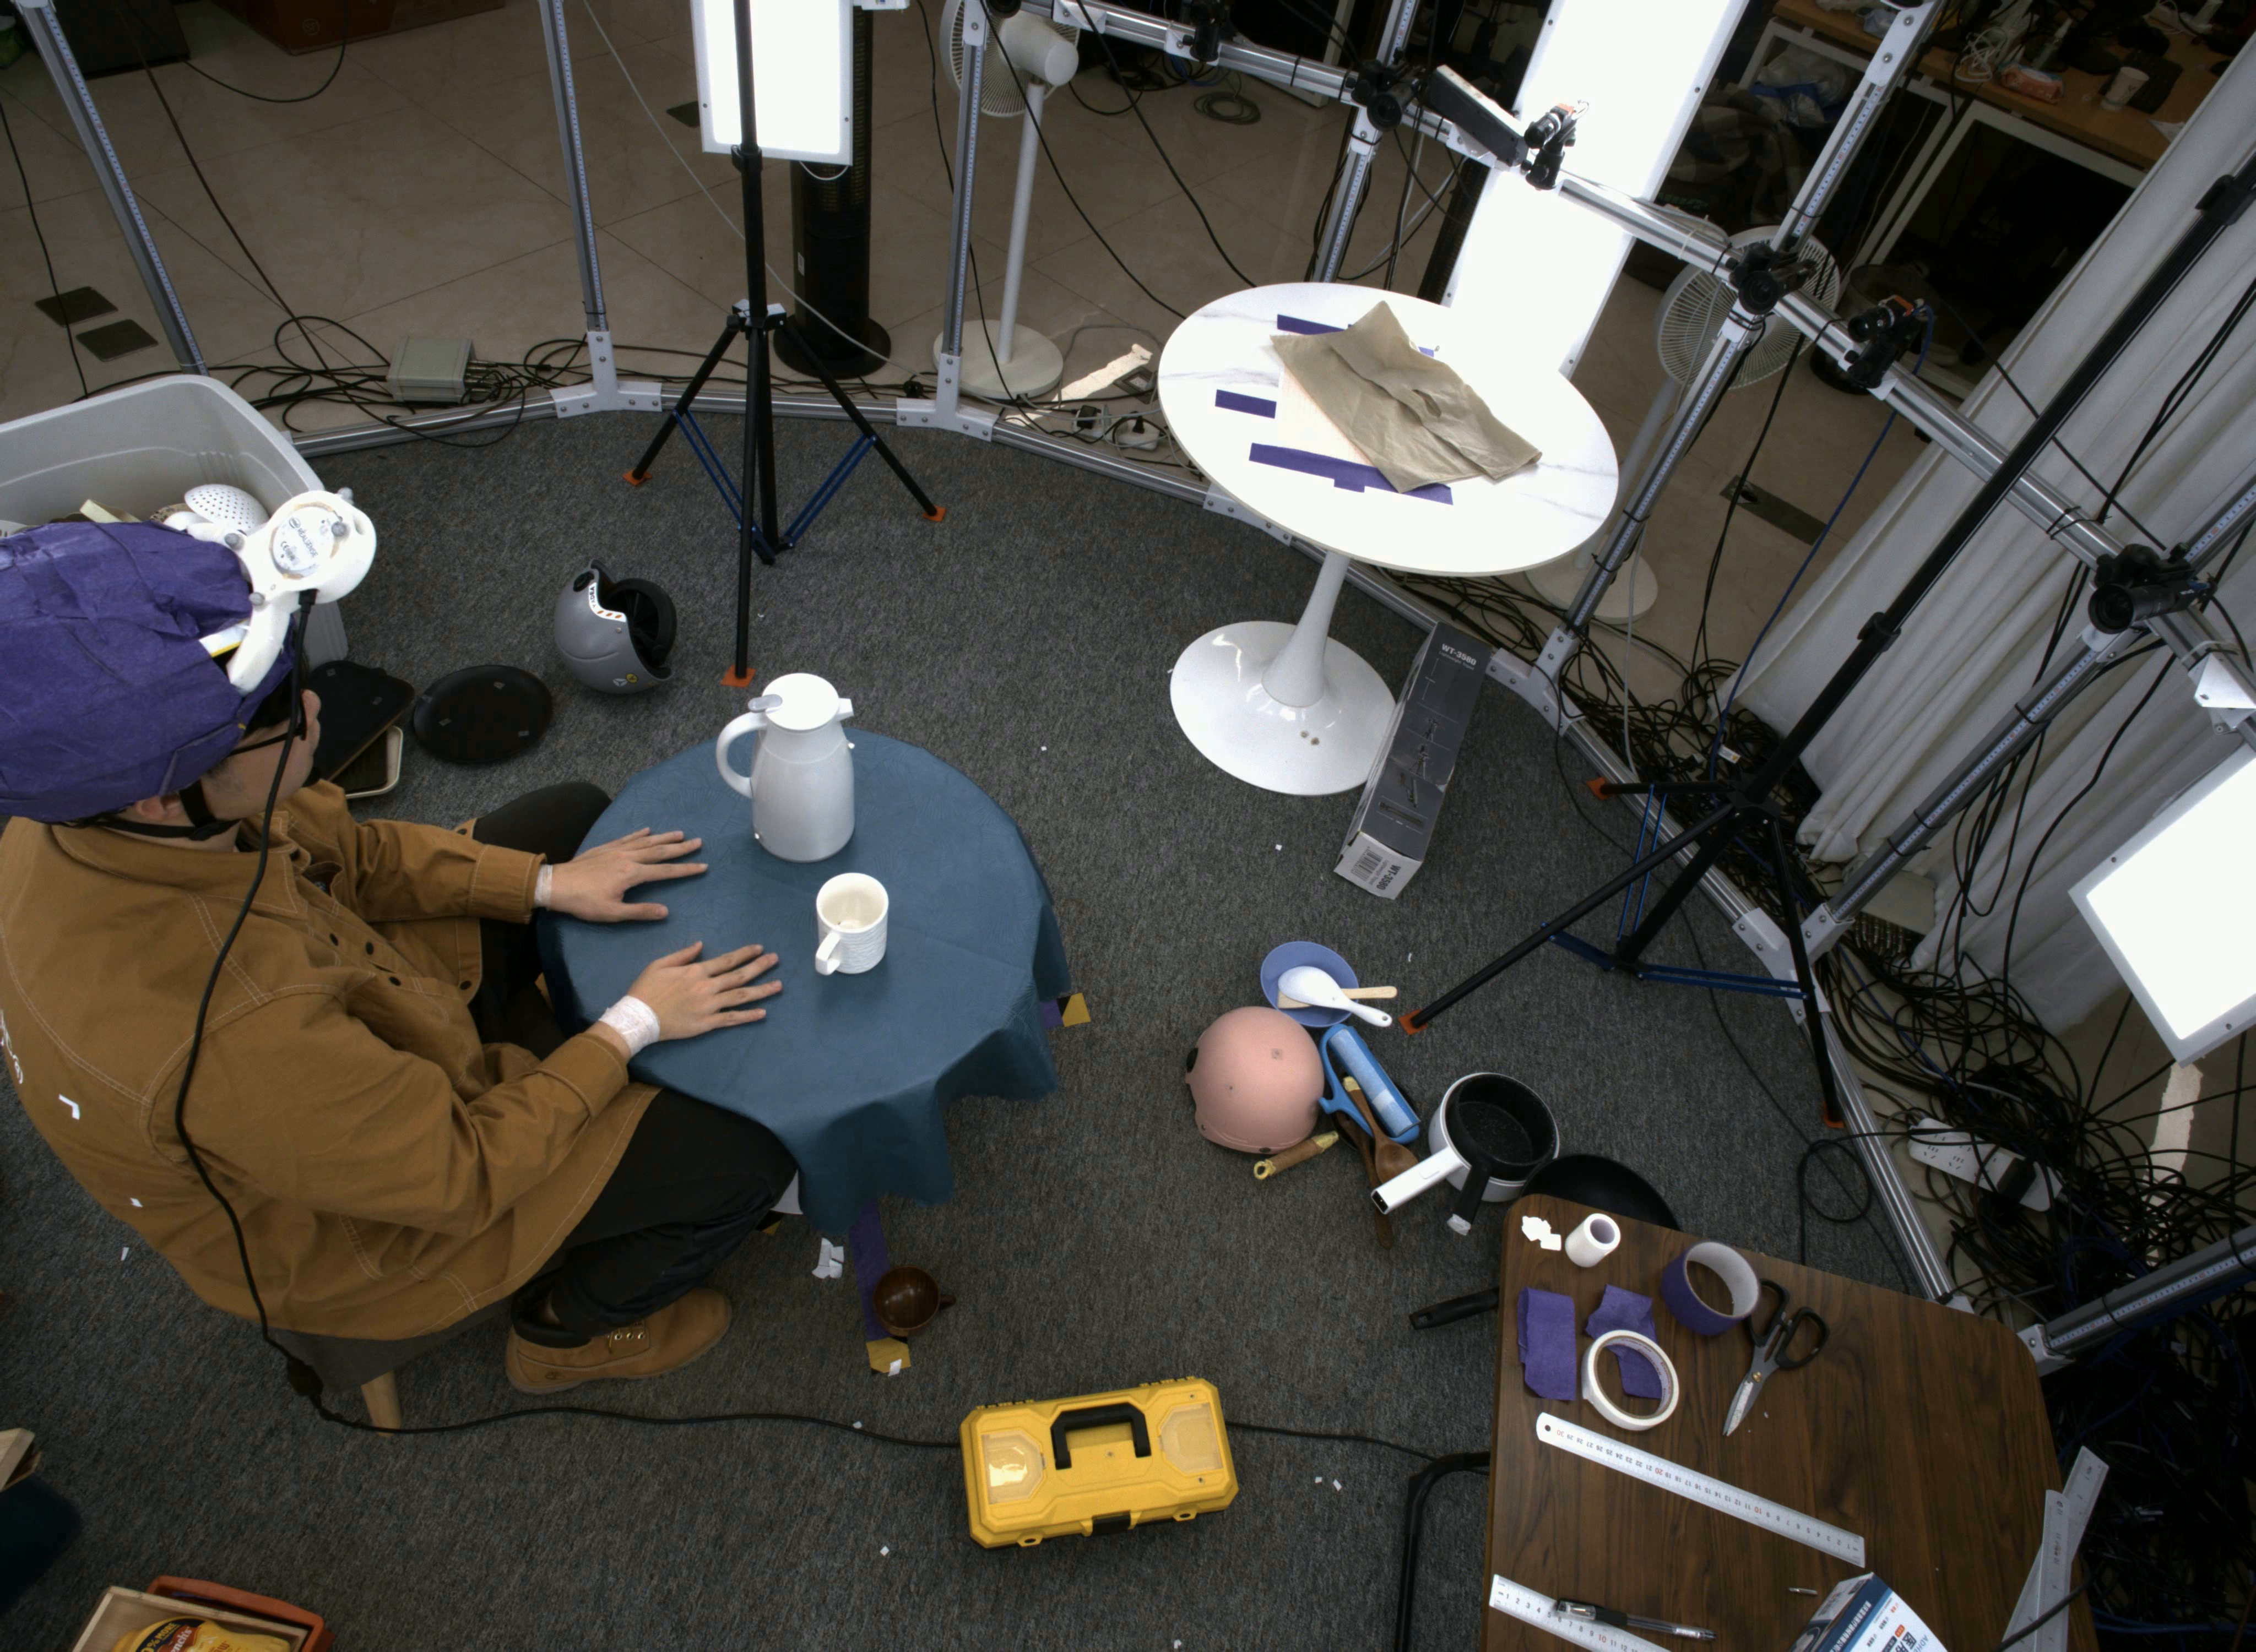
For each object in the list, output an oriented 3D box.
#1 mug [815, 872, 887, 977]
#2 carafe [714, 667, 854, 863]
[{"bbox_3d":[-0.343,0.130,1.579,0.084,0.104,0.117,22,52,6],"label":"mug"},{"bbox_3d":[-0.429,-0.078,1.618,0.168,0.254,0.129,-9,55,-18],"label":"carafe"}]
